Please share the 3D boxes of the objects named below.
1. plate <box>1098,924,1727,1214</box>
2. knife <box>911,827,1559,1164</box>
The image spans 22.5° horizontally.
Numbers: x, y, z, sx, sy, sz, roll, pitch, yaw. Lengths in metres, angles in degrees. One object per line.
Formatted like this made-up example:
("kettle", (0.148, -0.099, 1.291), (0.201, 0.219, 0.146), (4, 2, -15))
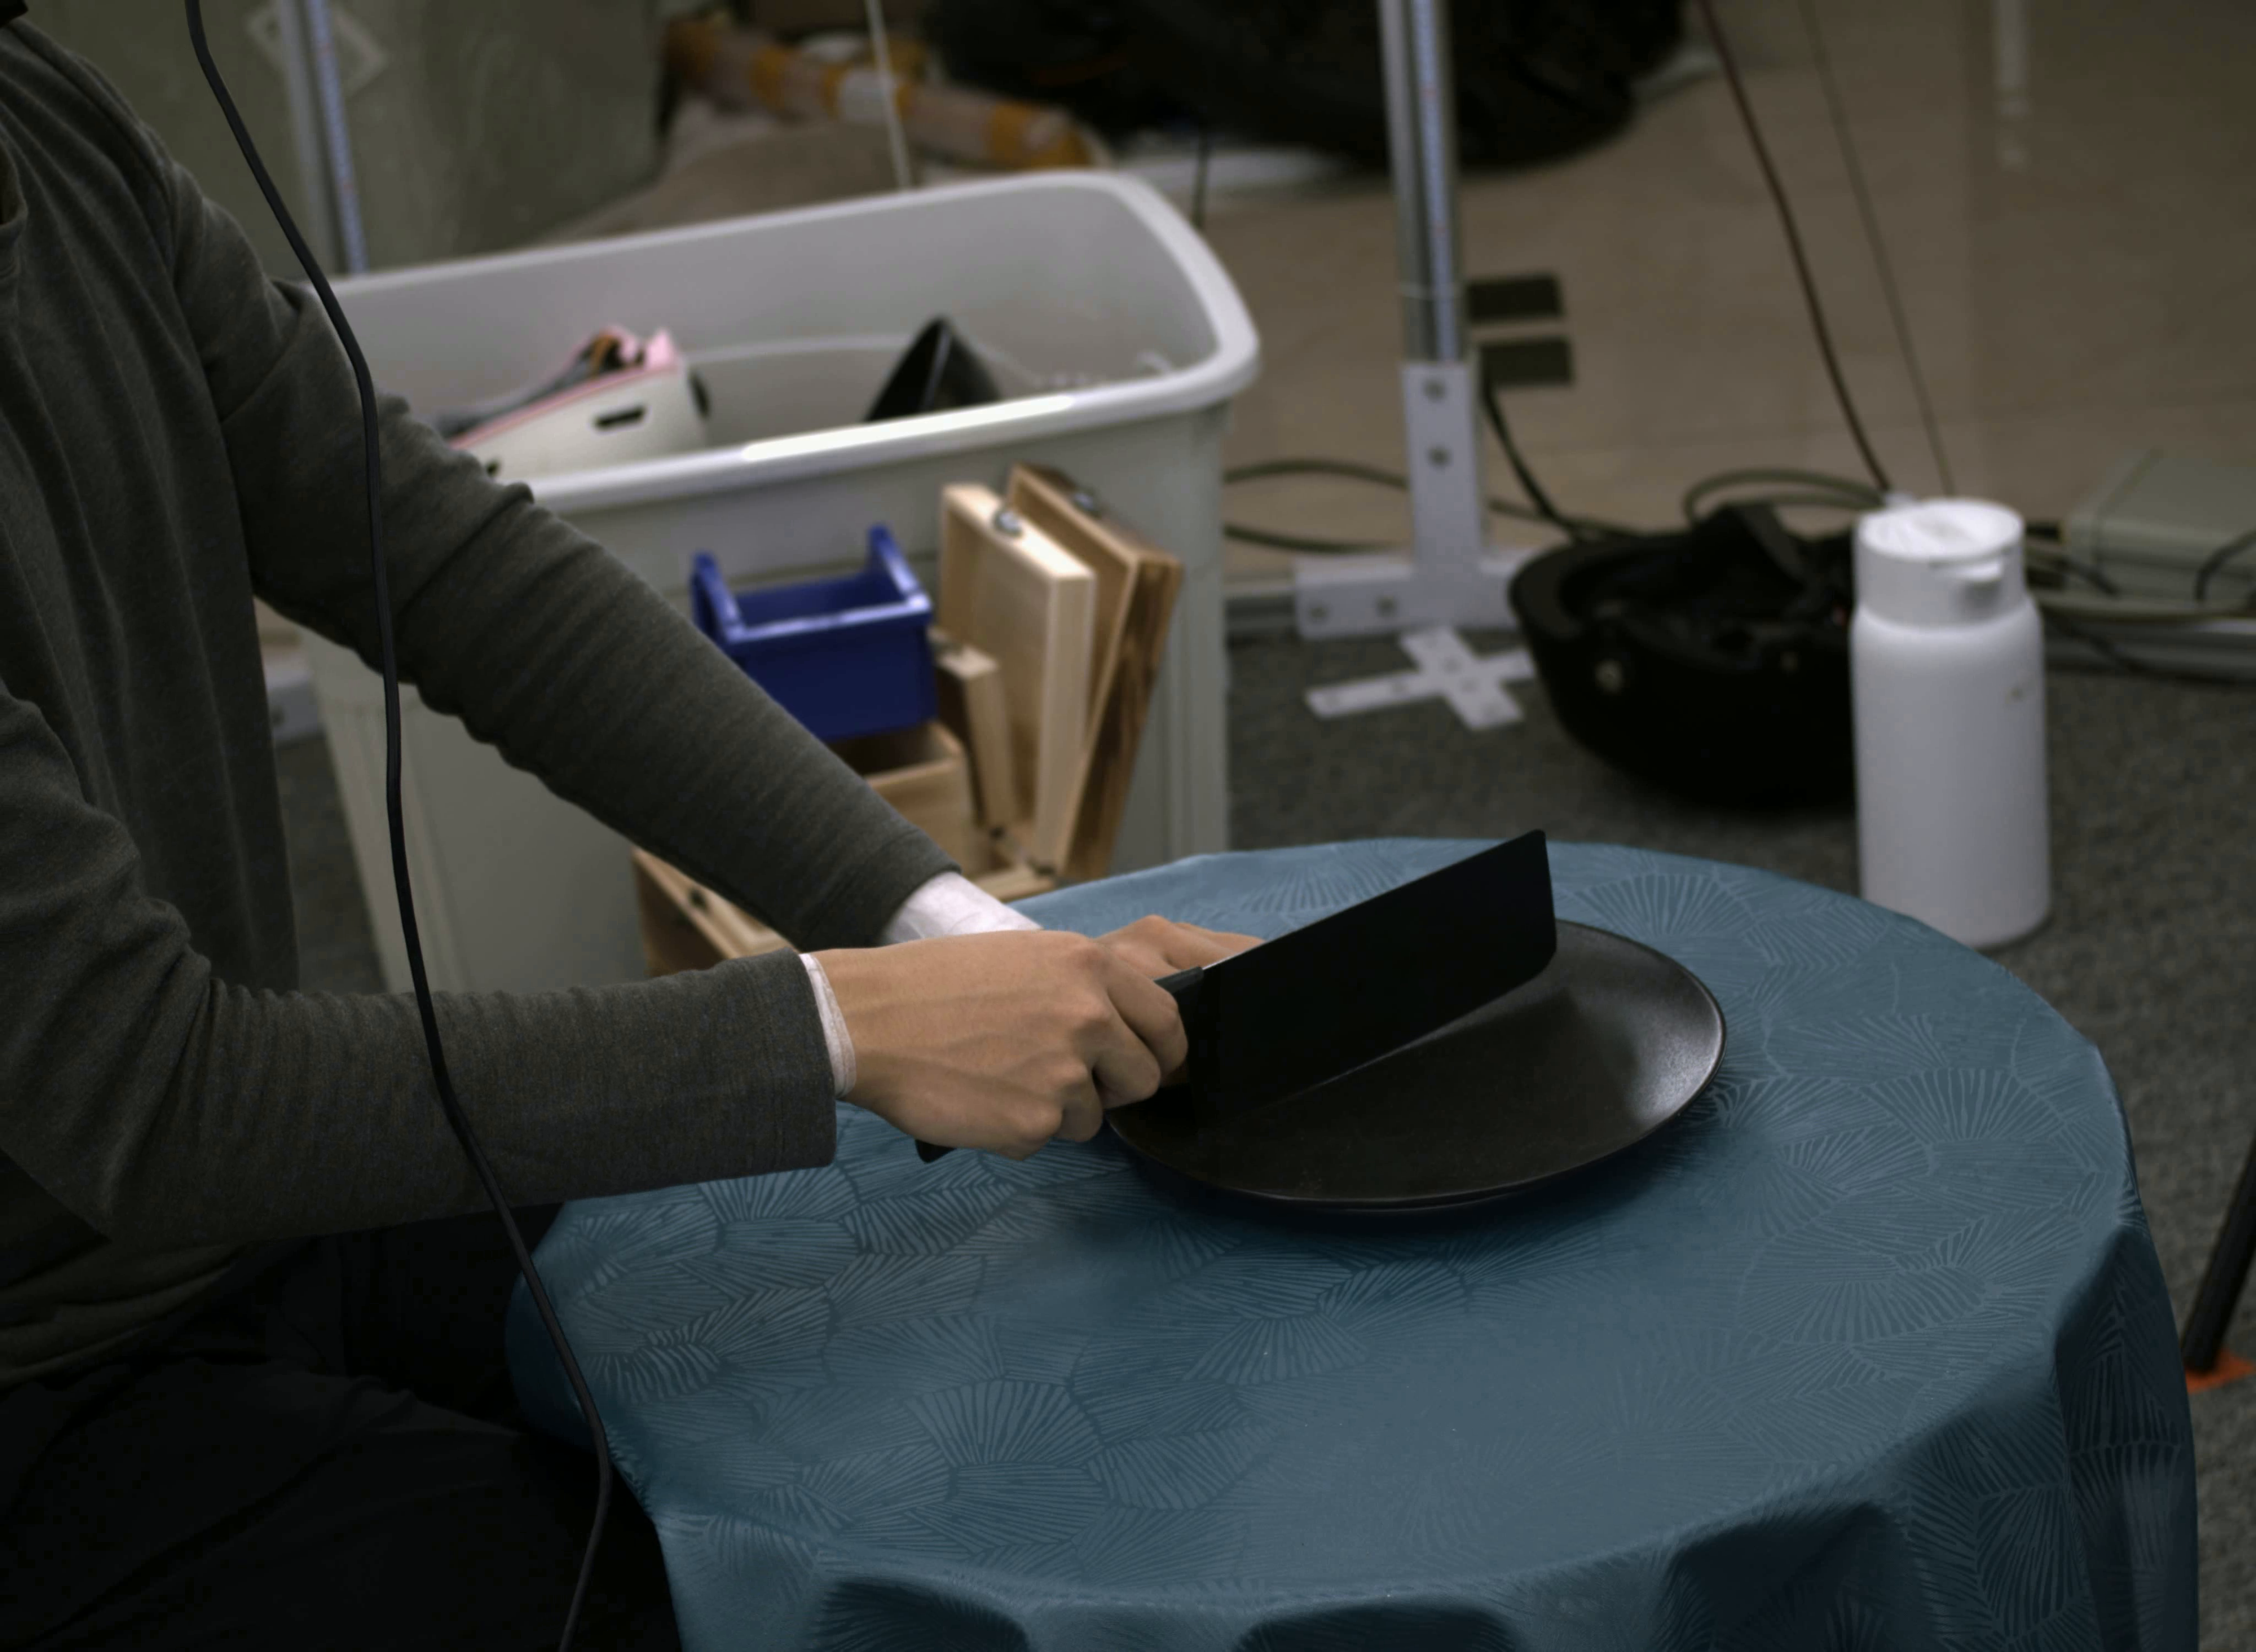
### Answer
("plate", (0.110, 0.096, 2.189), (0.244, 0.024, 0.241), (-6, 25, 3))
("knife", (0.046, 0.073, 2.166), (0.300, 0.082, 0.020), (-17, 25, -30))
